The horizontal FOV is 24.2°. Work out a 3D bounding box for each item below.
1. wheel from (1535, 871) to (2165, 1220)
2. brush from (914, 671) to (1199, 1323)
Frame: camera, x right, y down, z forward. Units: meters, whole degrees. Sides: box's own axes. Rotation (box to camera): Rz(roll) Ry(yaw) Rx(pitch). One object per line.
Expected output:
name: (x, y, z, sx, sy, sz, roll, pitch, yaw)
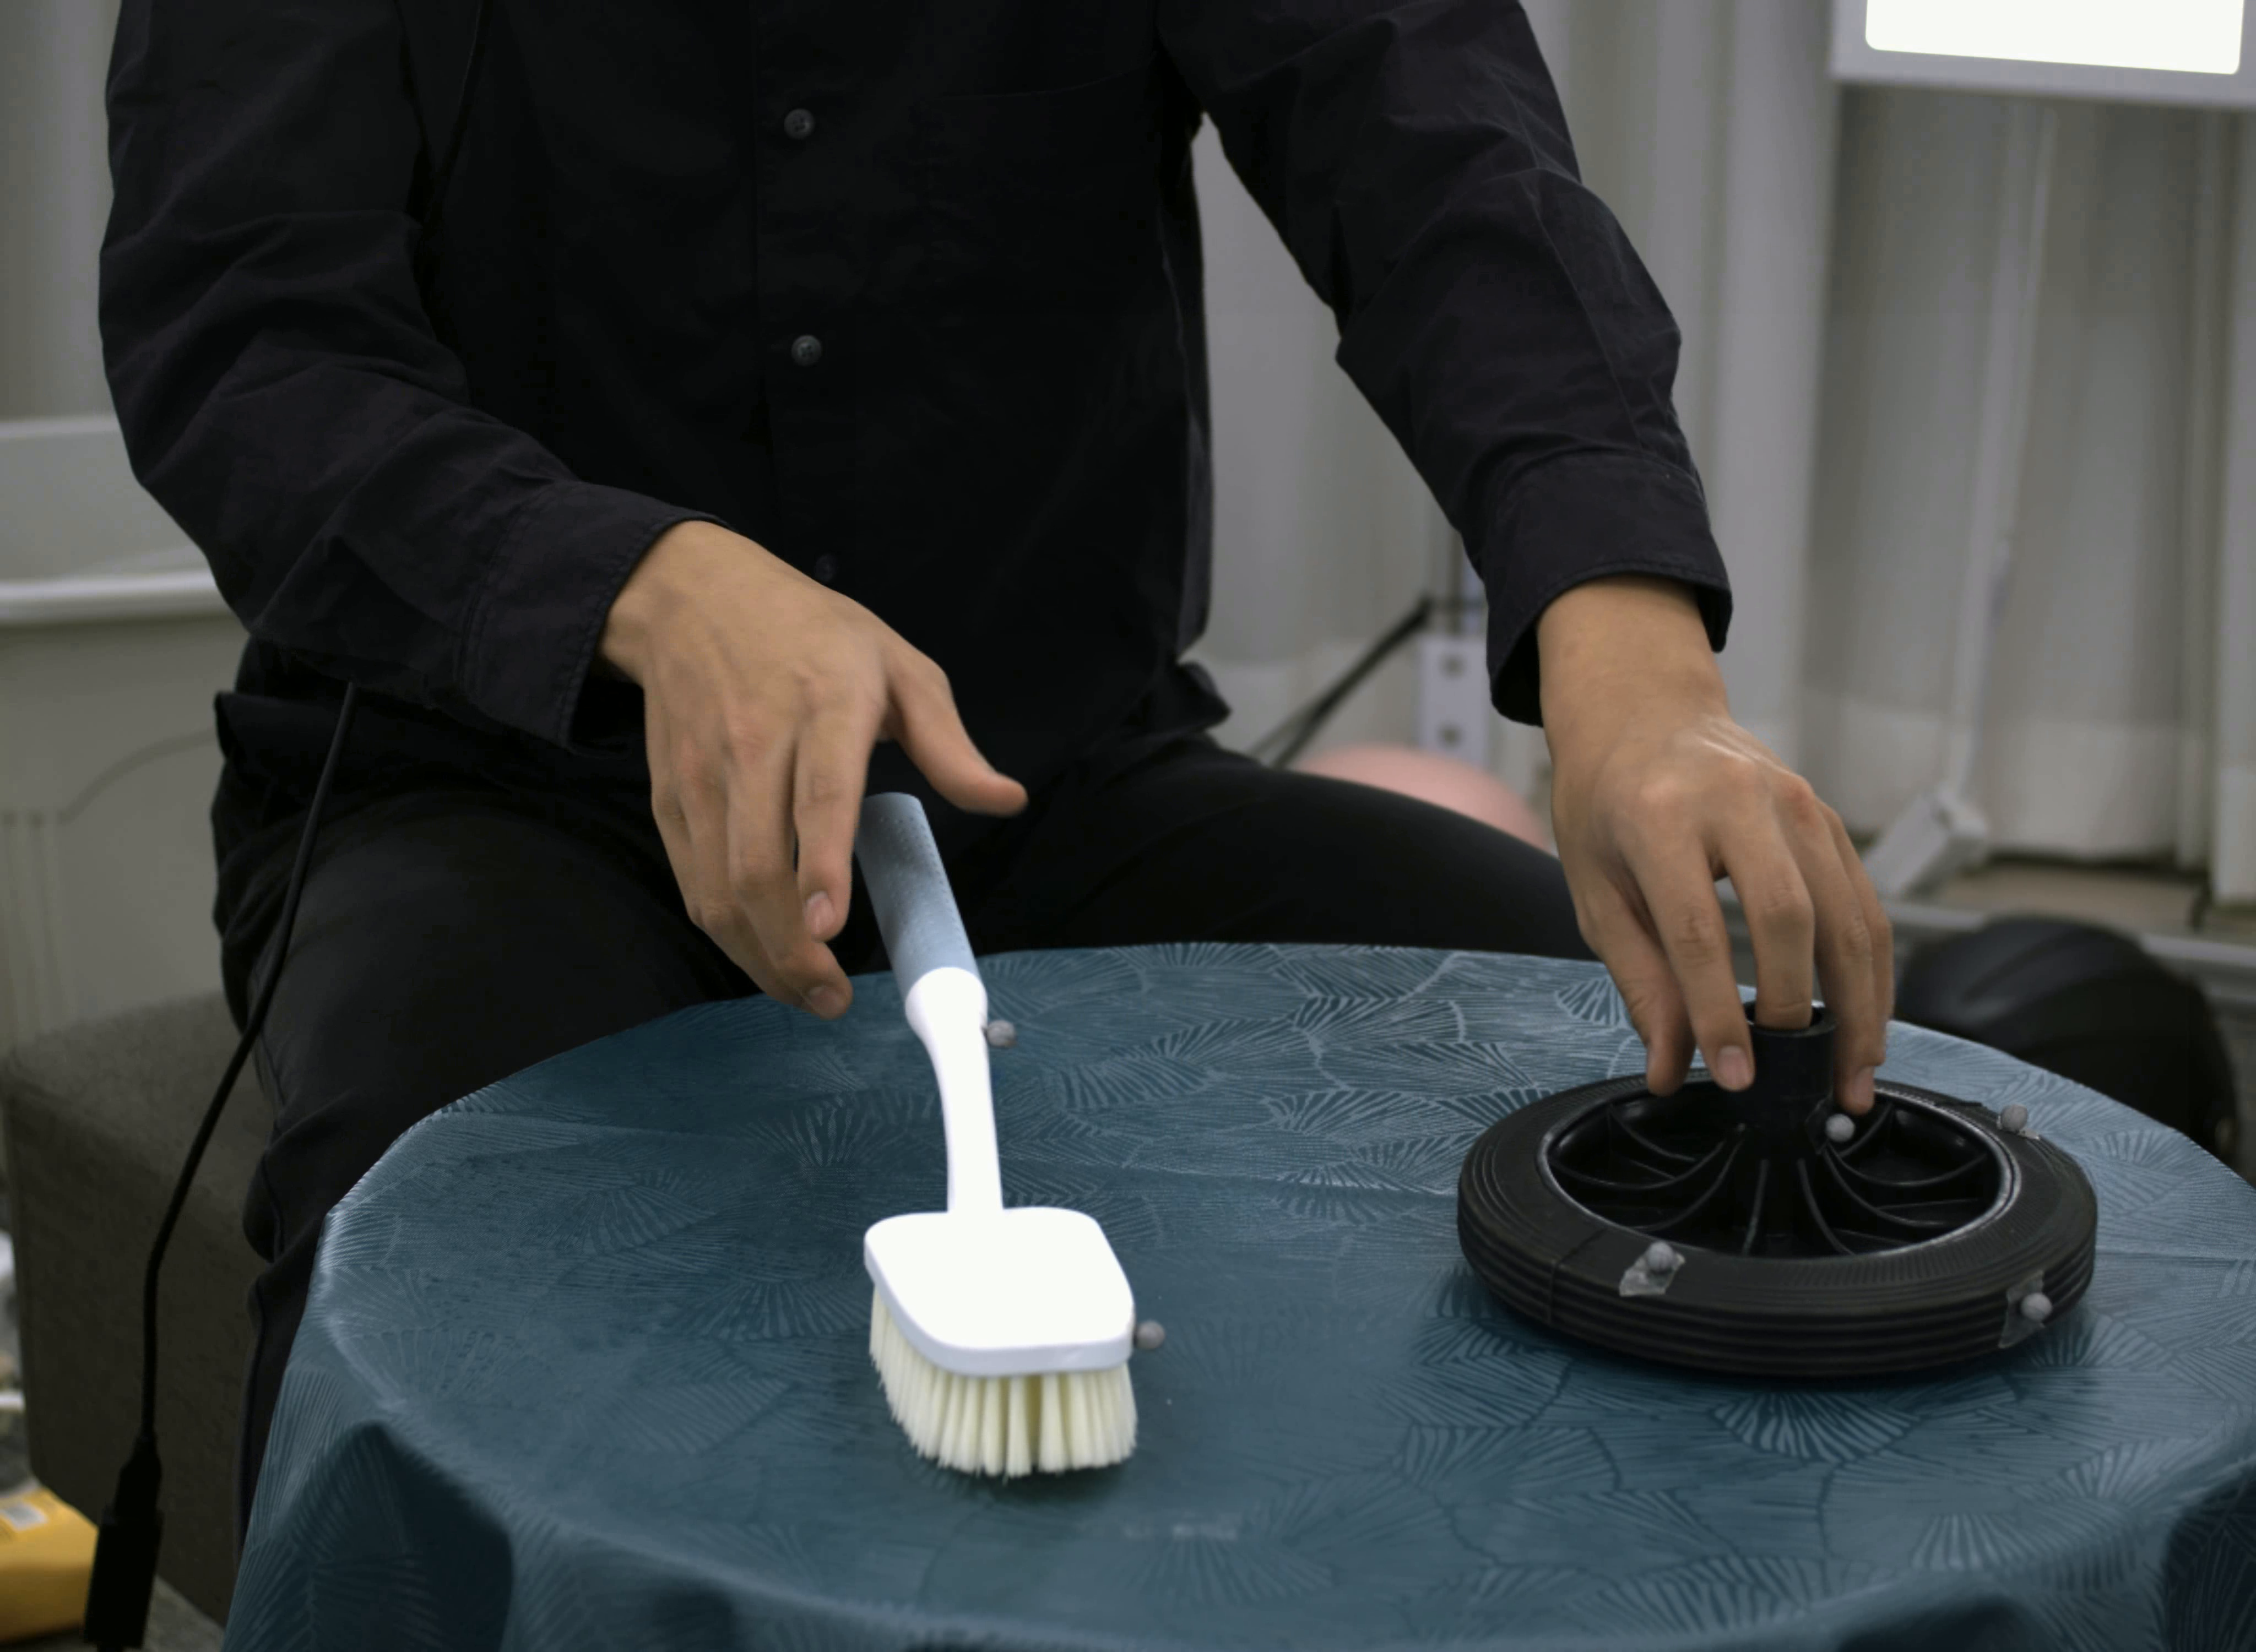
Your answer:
wheel: (0.218, 0.056, 1.592, 0.188, 0.080, 0.187, 4, 20, 16)
brush: (-0.028, 0.062, 1.564, 0.084, 0.084, 0.322, 33, 17, -25)
